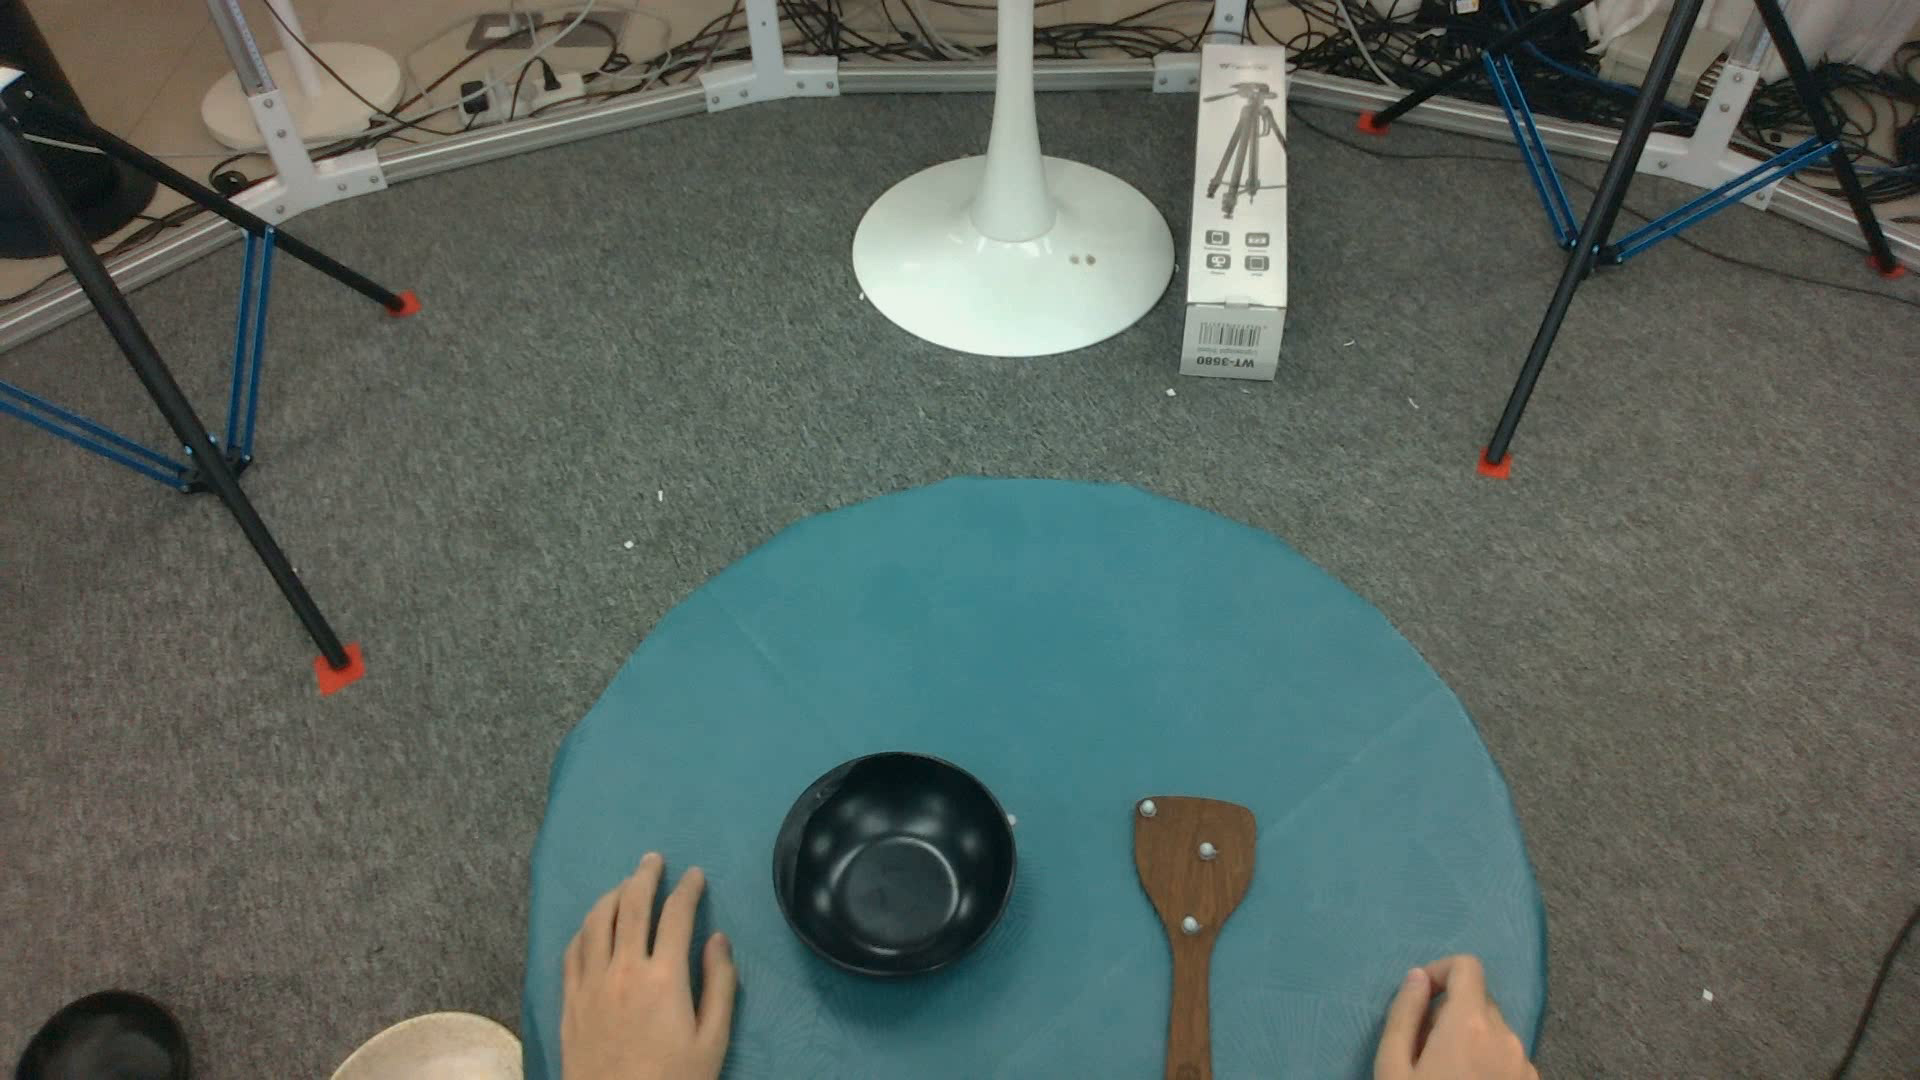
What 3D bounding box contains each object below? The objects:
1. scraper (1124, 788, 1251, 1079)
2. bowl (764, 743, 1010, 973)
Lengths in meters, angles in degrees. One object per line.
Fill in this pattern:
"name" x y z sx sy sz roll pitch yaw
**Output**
"scraper" 0.126 0.236 0.780 0.076 0.011 0.212 5 50 6
"bowl" -0.042 0.189 0.794 0.140 0.049 0.140 2 50 -2
